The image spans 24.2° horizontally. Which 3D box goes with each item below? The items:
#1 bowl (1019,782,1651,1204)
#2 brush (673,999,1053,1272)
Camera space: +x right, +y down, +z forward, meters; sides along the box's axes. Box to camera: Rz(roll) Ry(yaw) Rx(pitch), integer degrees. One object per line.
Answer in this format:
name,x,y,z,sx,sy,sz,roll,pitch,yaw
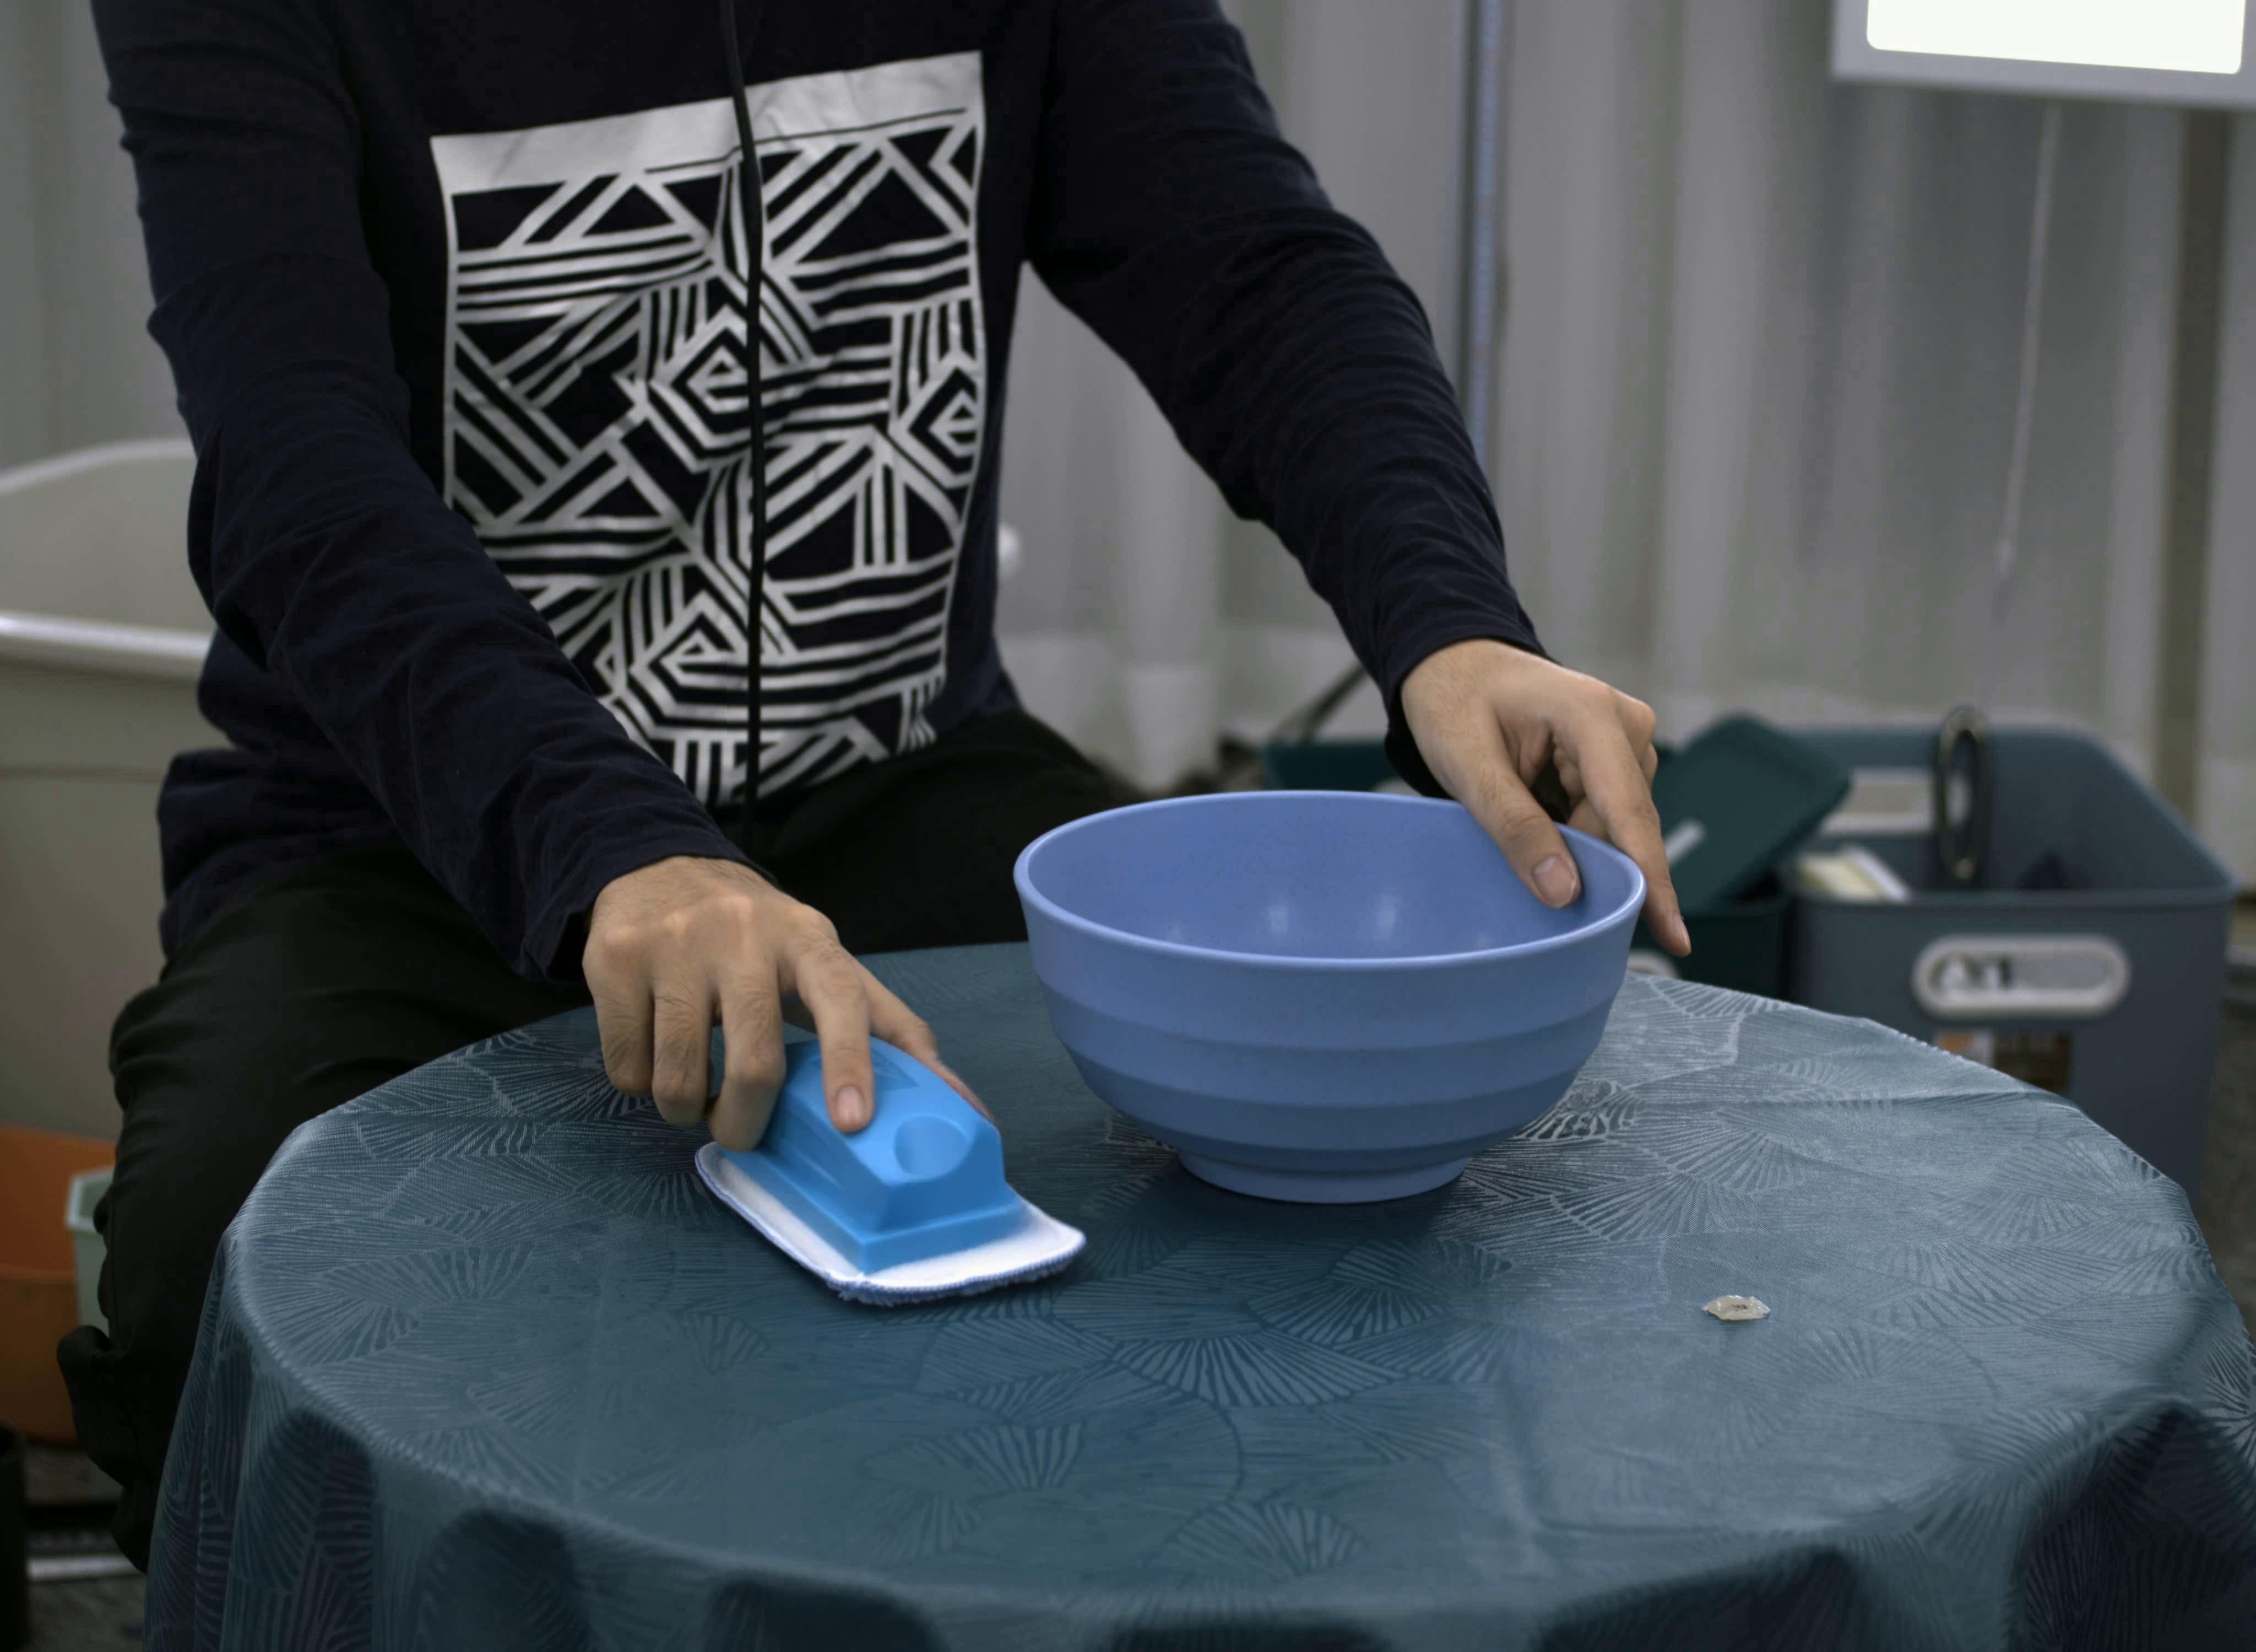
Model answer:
bowl,0.063,0.058,1.645,0.196,0.096,0.195,2,17,0
brush,-0.080,0.090,1.584,0.084,0.056,0.142,-8,20,-22
